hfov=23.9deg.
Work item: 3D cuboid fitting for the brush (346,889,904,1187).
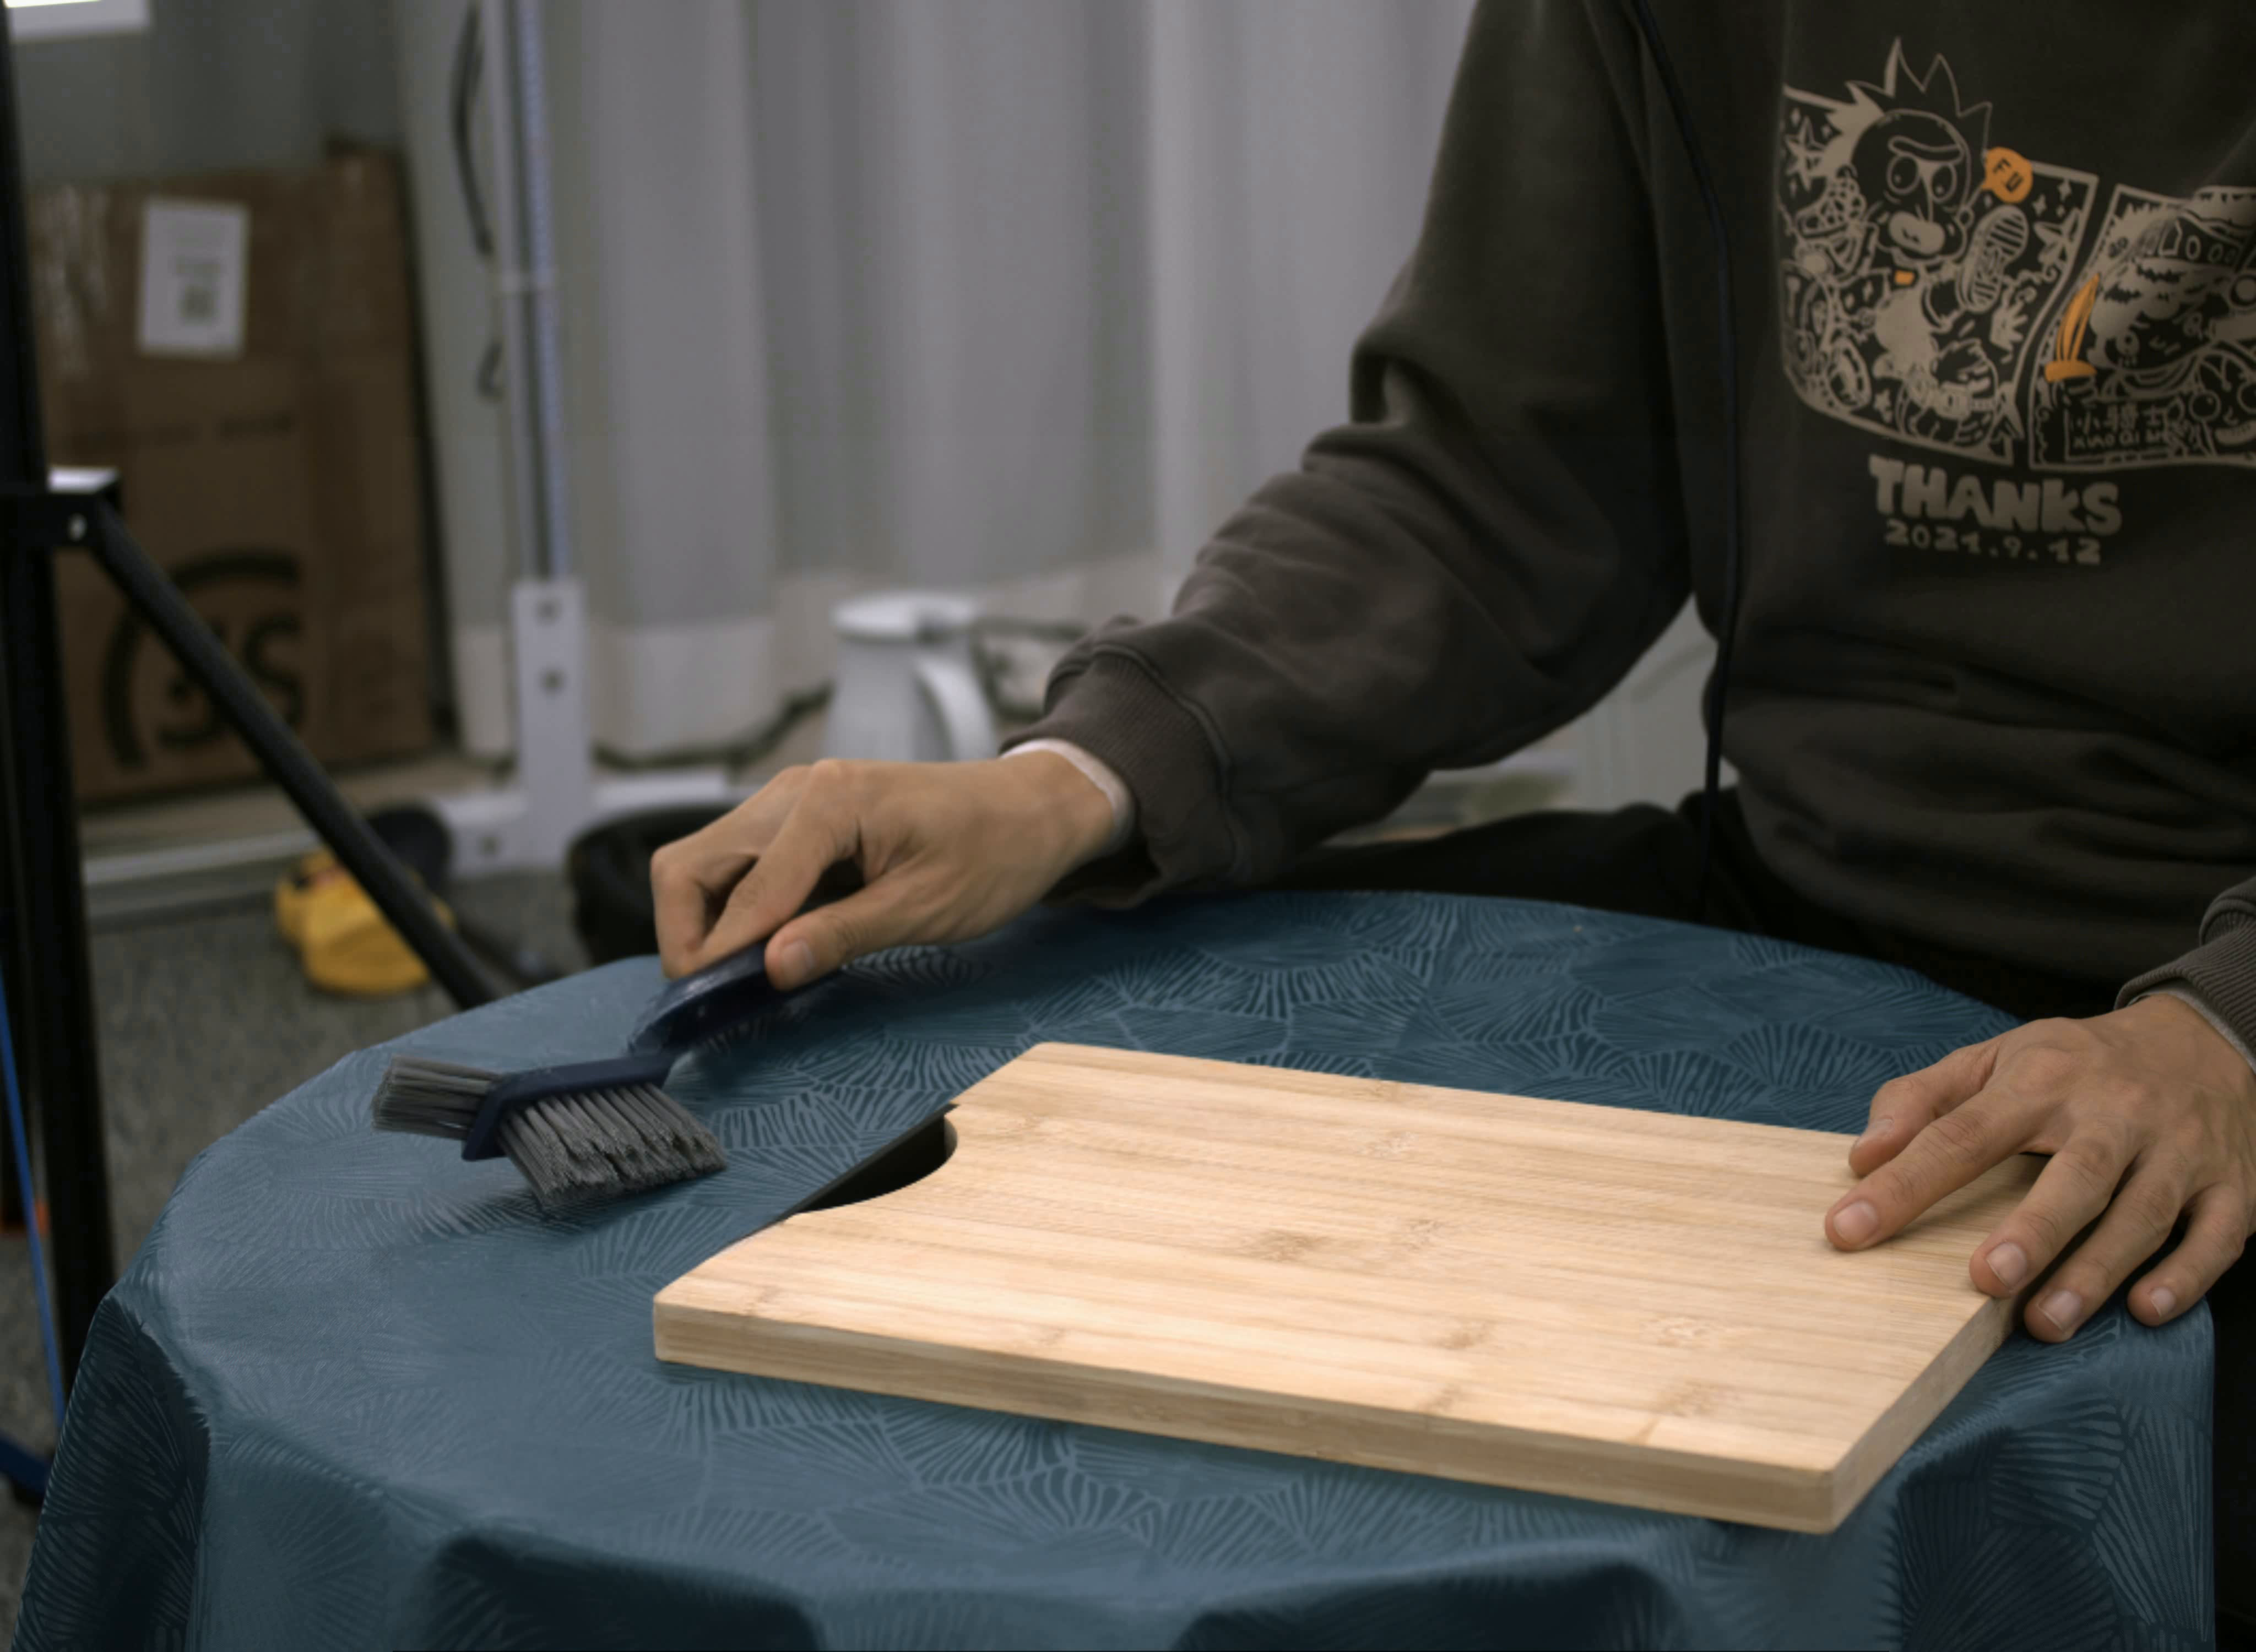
[{"bbox_3d":[-0.148,0.057,1.677,0.096,0.033,0.270,28,22,9],"label":"brush"}]

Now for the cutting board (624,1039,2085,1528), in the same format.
[{"bbox_3d":[0.067,0.121,1.475,0.354,0.023,0.247,5,17,26],"label":"cutting board"}]
